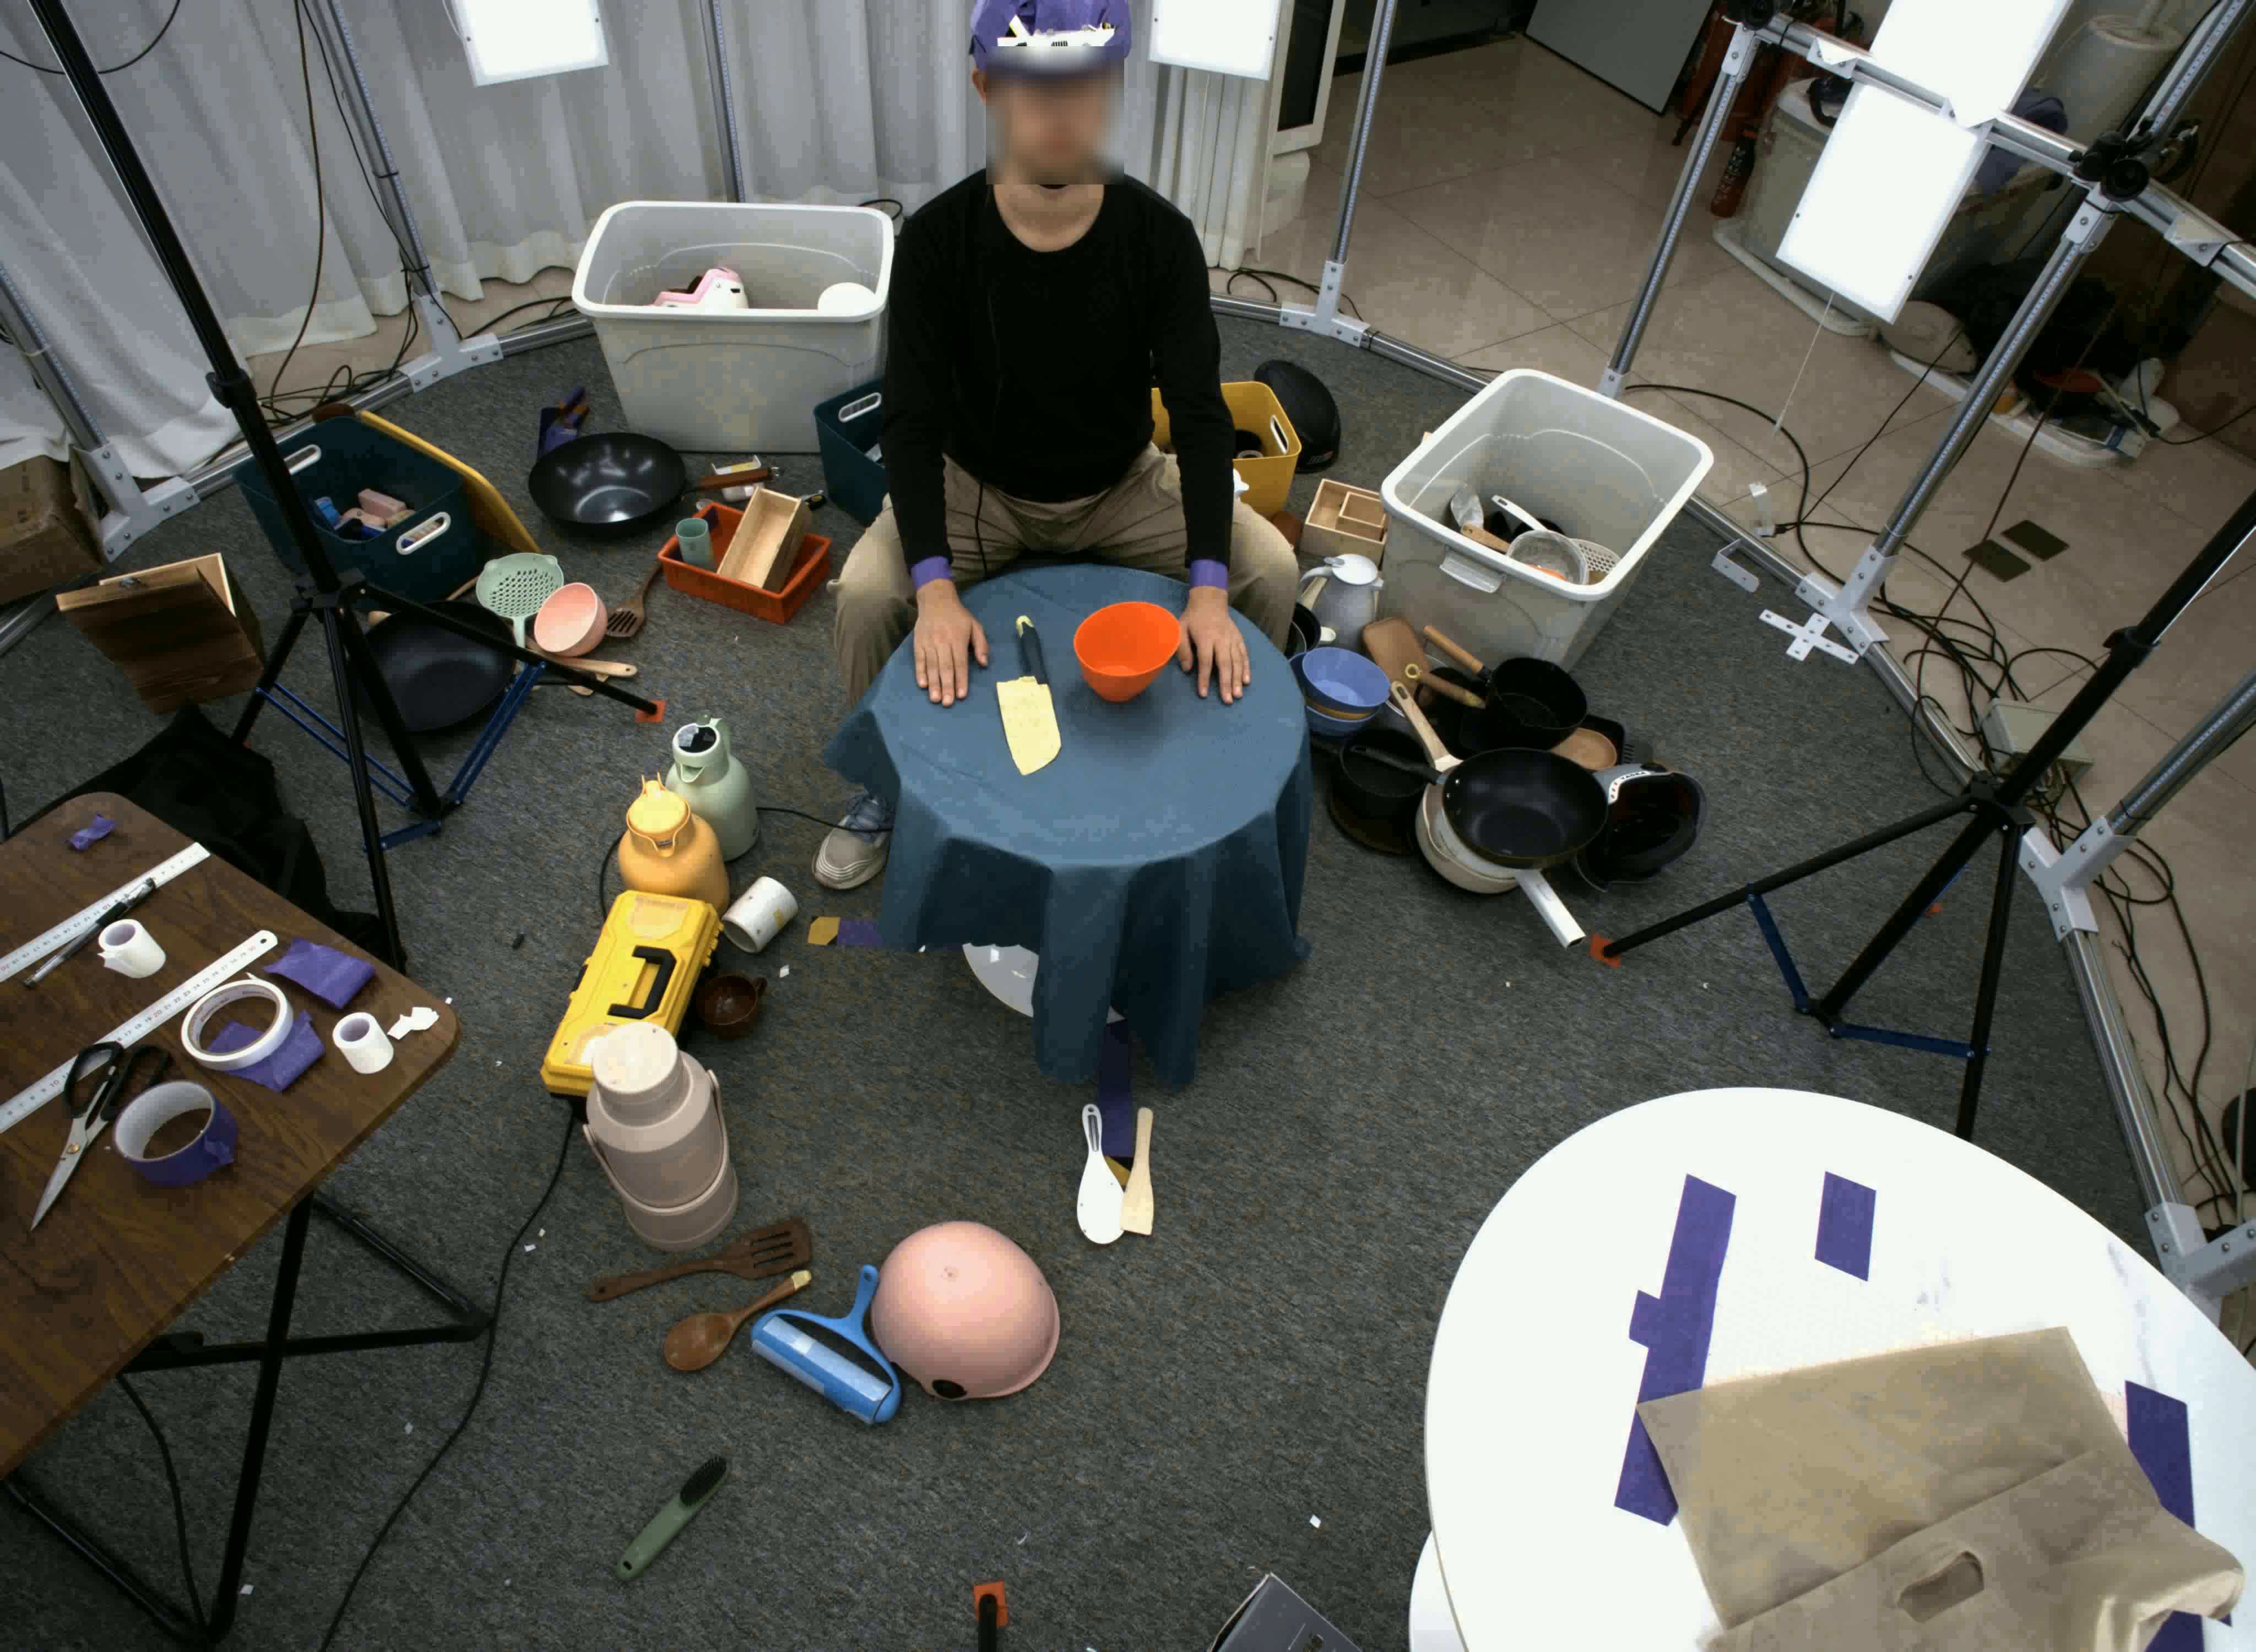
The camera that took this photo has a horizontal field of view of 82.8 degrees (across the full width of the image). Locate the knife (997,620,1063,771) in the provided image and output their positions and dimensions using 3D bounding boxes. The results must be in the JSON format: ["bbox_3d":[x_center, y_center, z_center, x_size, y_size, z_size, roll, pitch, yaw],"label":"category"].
[{"bbox_3d":[-0.143,-0.187,1.814,0.081,0.026,0.297,-3,50,-9],"label":"knife"}]

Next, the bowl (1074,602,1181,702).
[{"bbox_3d":[-0.002,-0.233,1.805,0.148,0.102,0.152,1,51,-2],"label":"bowl"}]
